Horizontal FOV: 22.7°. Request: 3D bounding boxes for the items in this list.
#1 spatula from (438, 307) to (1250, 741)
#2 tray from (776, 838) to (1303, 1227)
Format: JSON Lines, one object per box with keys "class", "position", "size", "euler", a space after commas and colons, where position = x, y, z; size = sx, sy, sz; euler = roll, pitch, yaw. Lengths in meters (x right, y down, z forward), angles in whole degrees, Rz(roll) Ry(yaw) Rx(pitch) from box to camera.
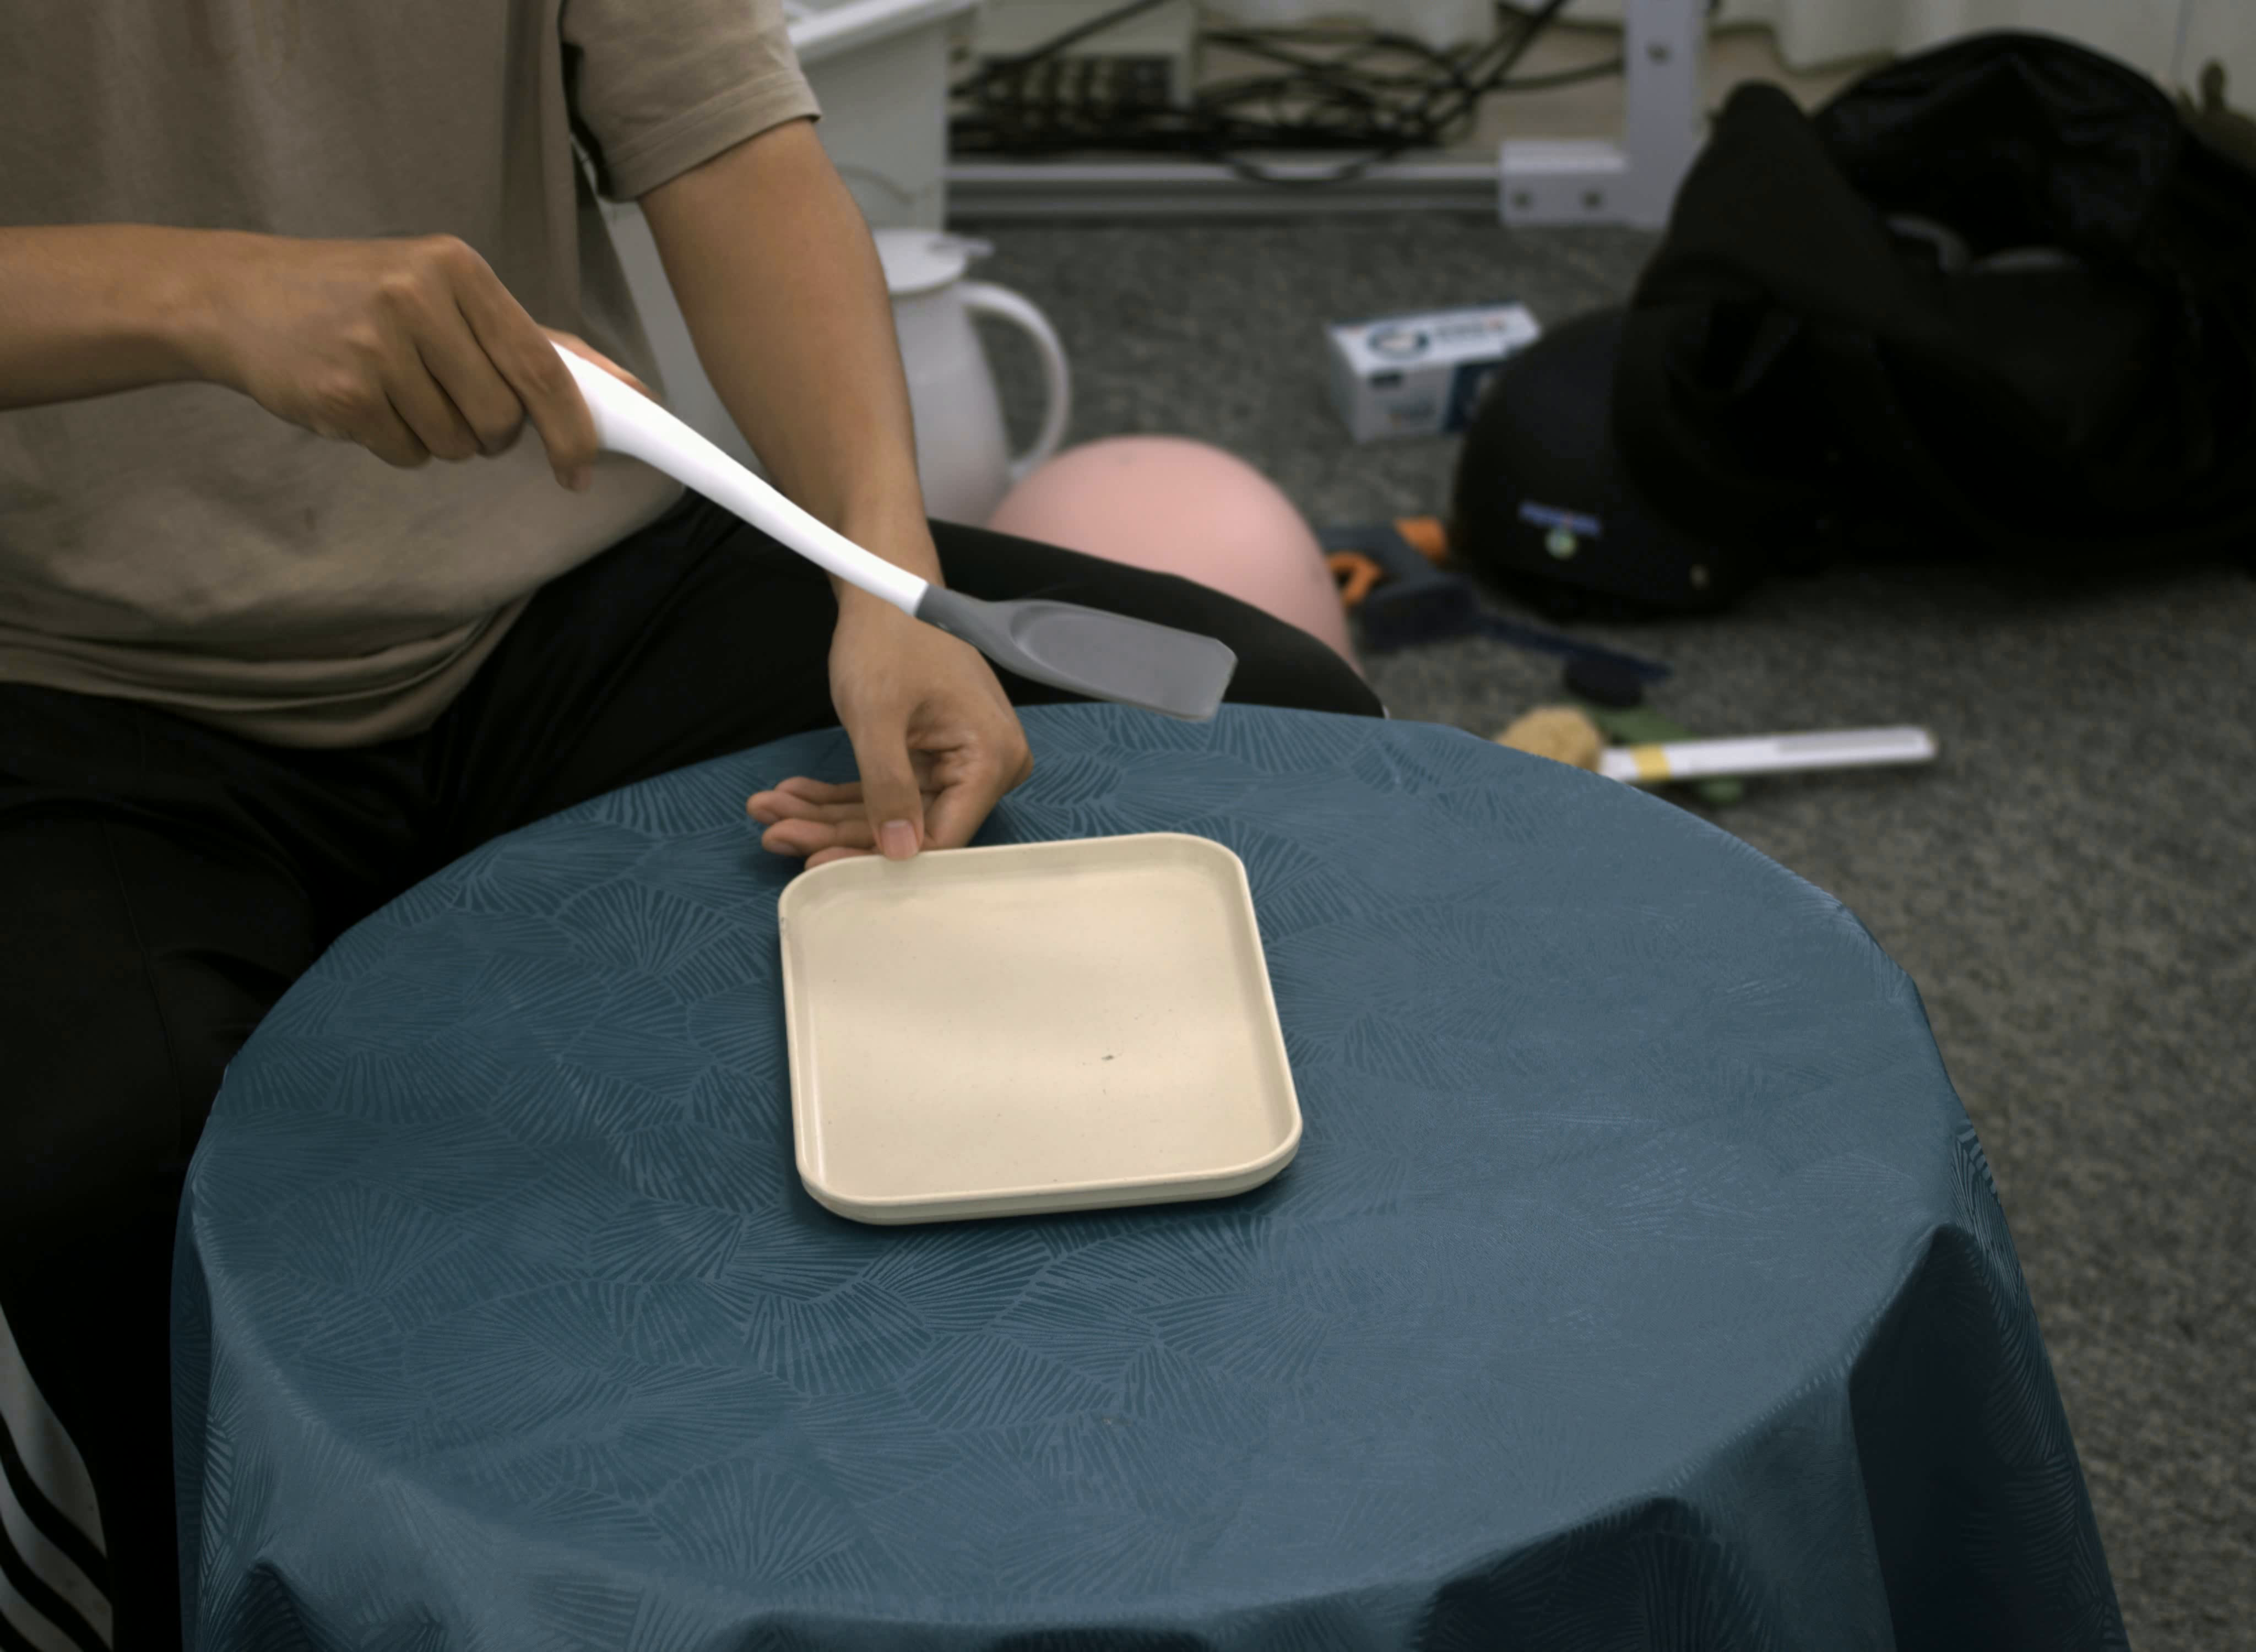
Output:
{"class": "spatula", "position": [-0.094, -0.097, 1.878], "size": [0.287, 0.032, 0.059], "euler": [26, 29, -2]}
{"class": "tray", "position": [-0.034, 0.070, 1.944], "size": [0.171, 0.017, 0.243], "euler": [-4, 27, -4]}
